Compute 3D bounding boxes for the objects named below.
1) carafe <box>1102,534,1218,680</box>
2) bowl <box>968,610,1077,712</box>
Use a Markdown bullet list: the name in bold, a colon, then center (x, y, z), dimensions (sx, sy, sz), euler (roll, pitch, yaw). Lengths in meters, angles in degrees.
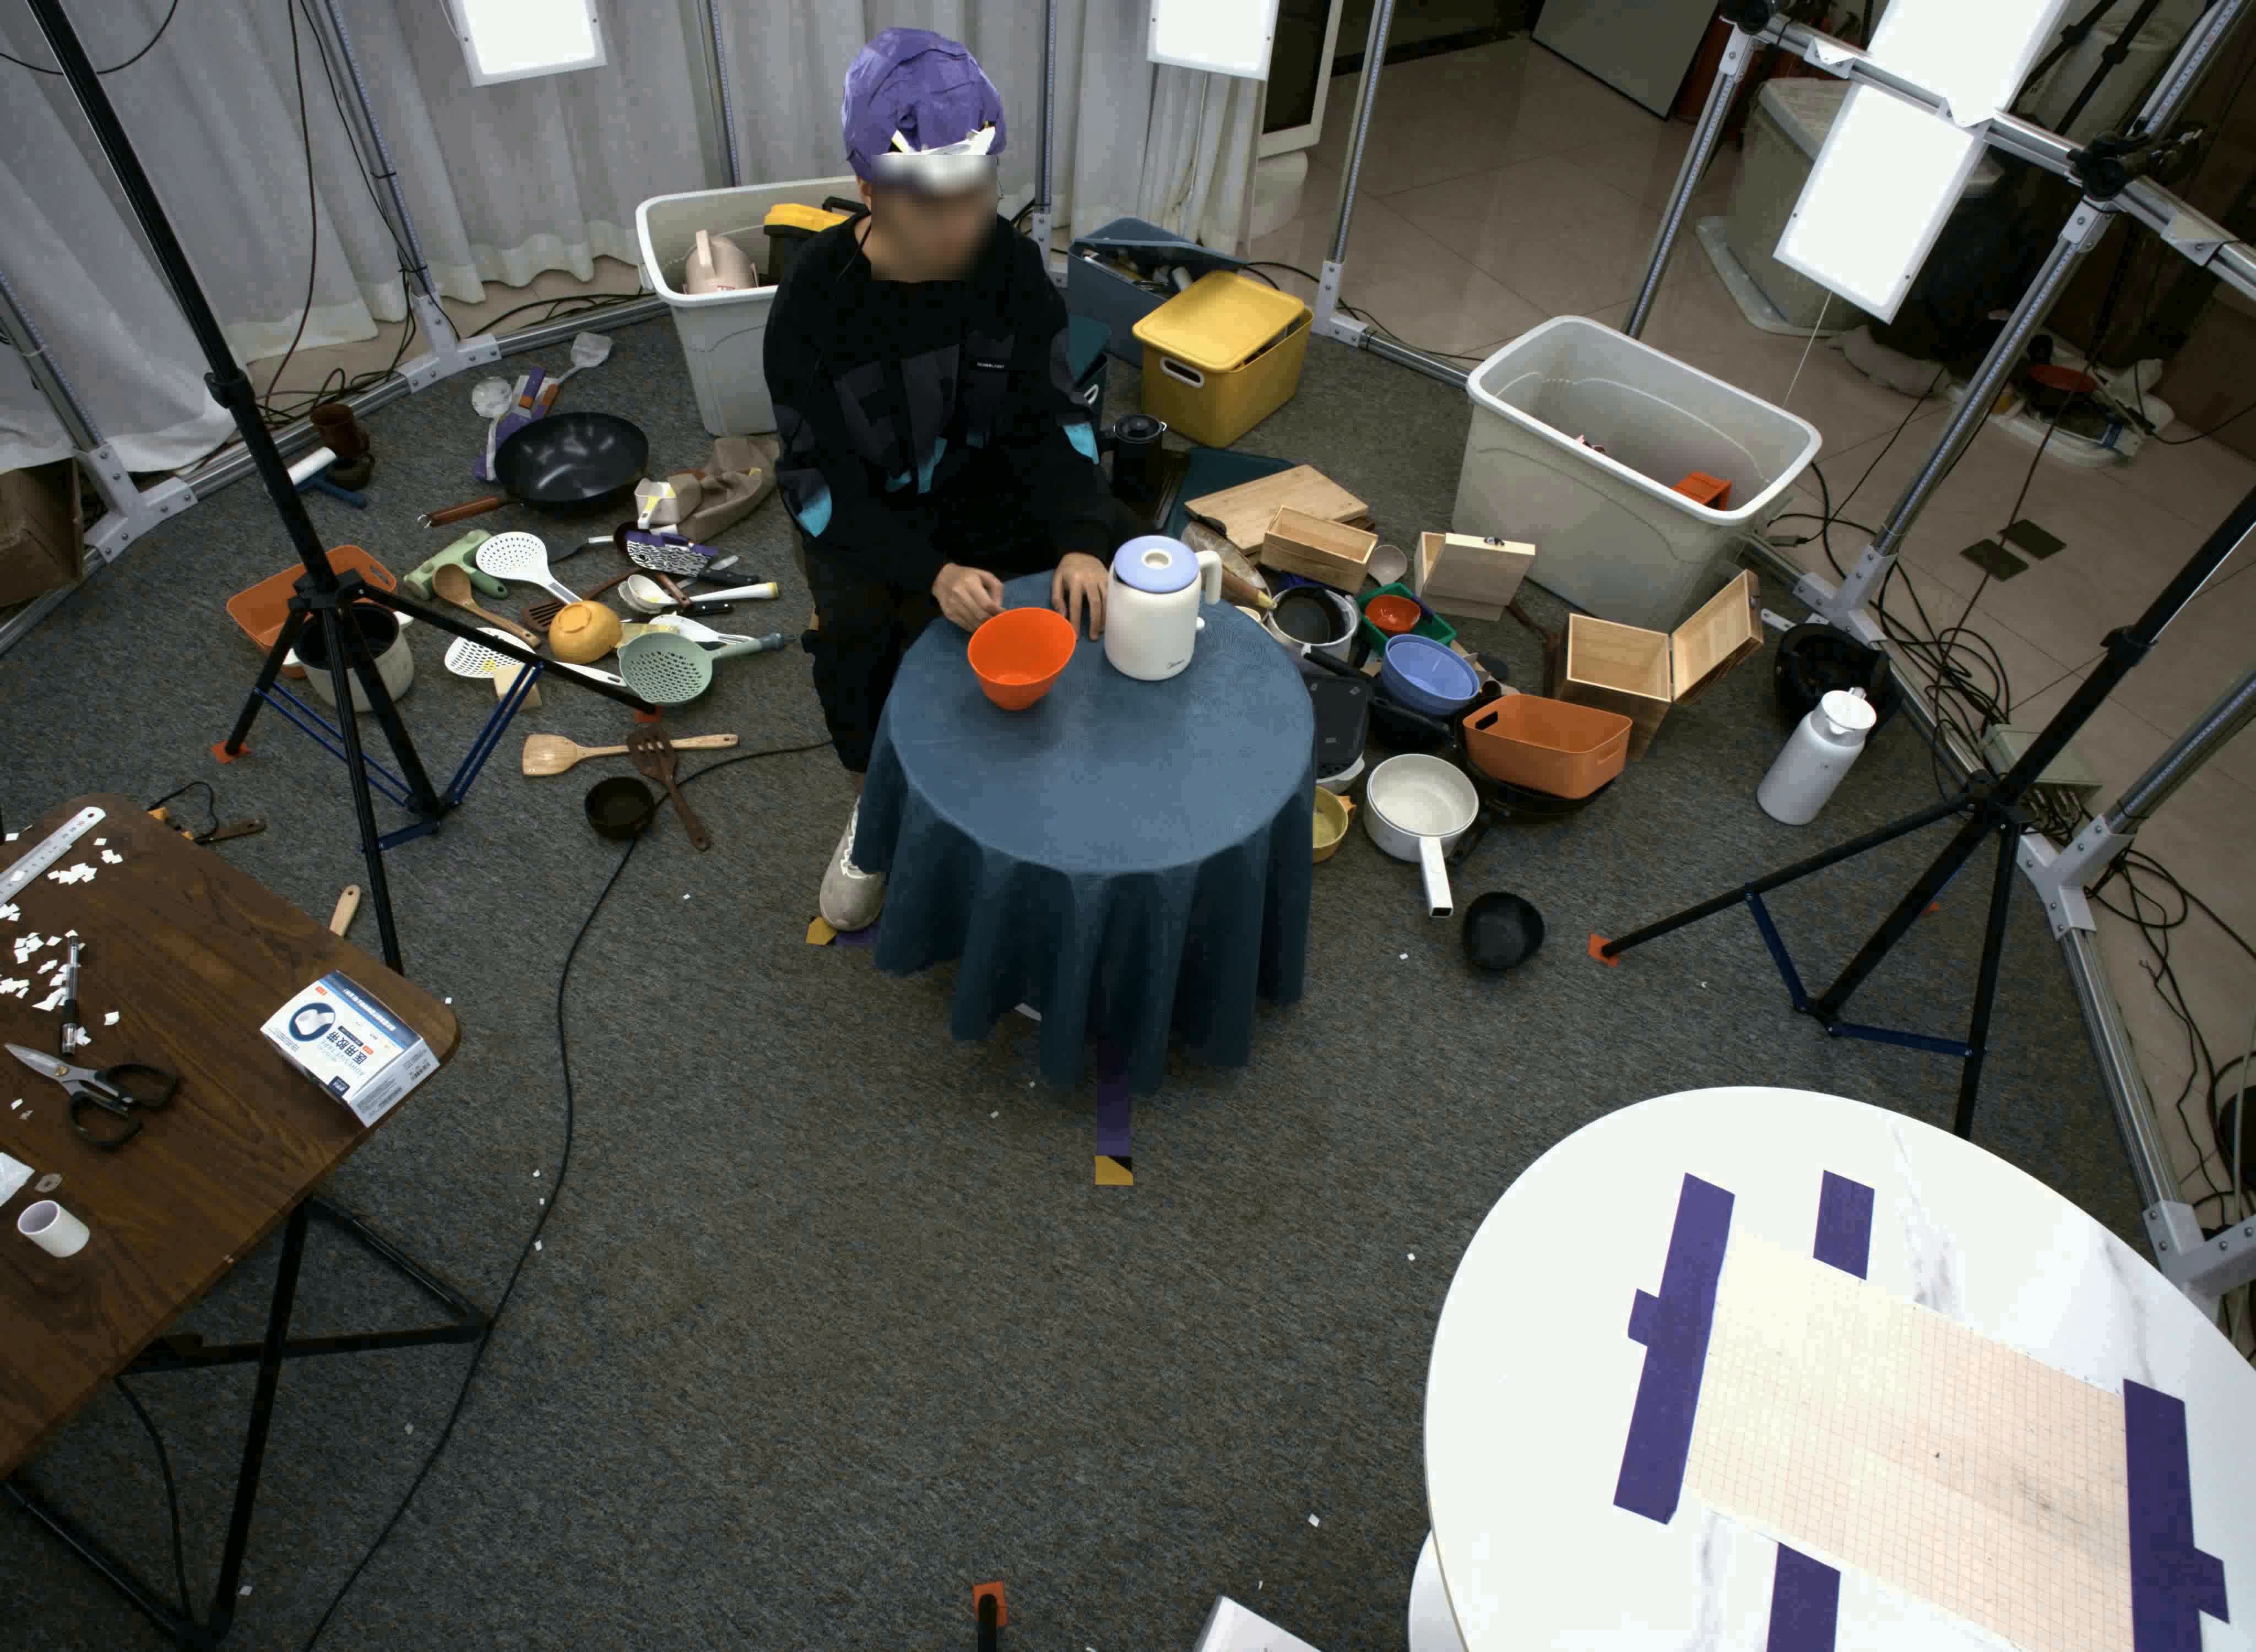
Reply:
- **carafe**: center (0.053, -0.320, 1.840), dimensions (0.192, 0.178, 0.135), euler (-25, 57, -26)
- **bowl**: center (-0.147, -0.219, 1.783), dimensions (0.148, 0.102, 0.152), euler (2, 49, -3)
